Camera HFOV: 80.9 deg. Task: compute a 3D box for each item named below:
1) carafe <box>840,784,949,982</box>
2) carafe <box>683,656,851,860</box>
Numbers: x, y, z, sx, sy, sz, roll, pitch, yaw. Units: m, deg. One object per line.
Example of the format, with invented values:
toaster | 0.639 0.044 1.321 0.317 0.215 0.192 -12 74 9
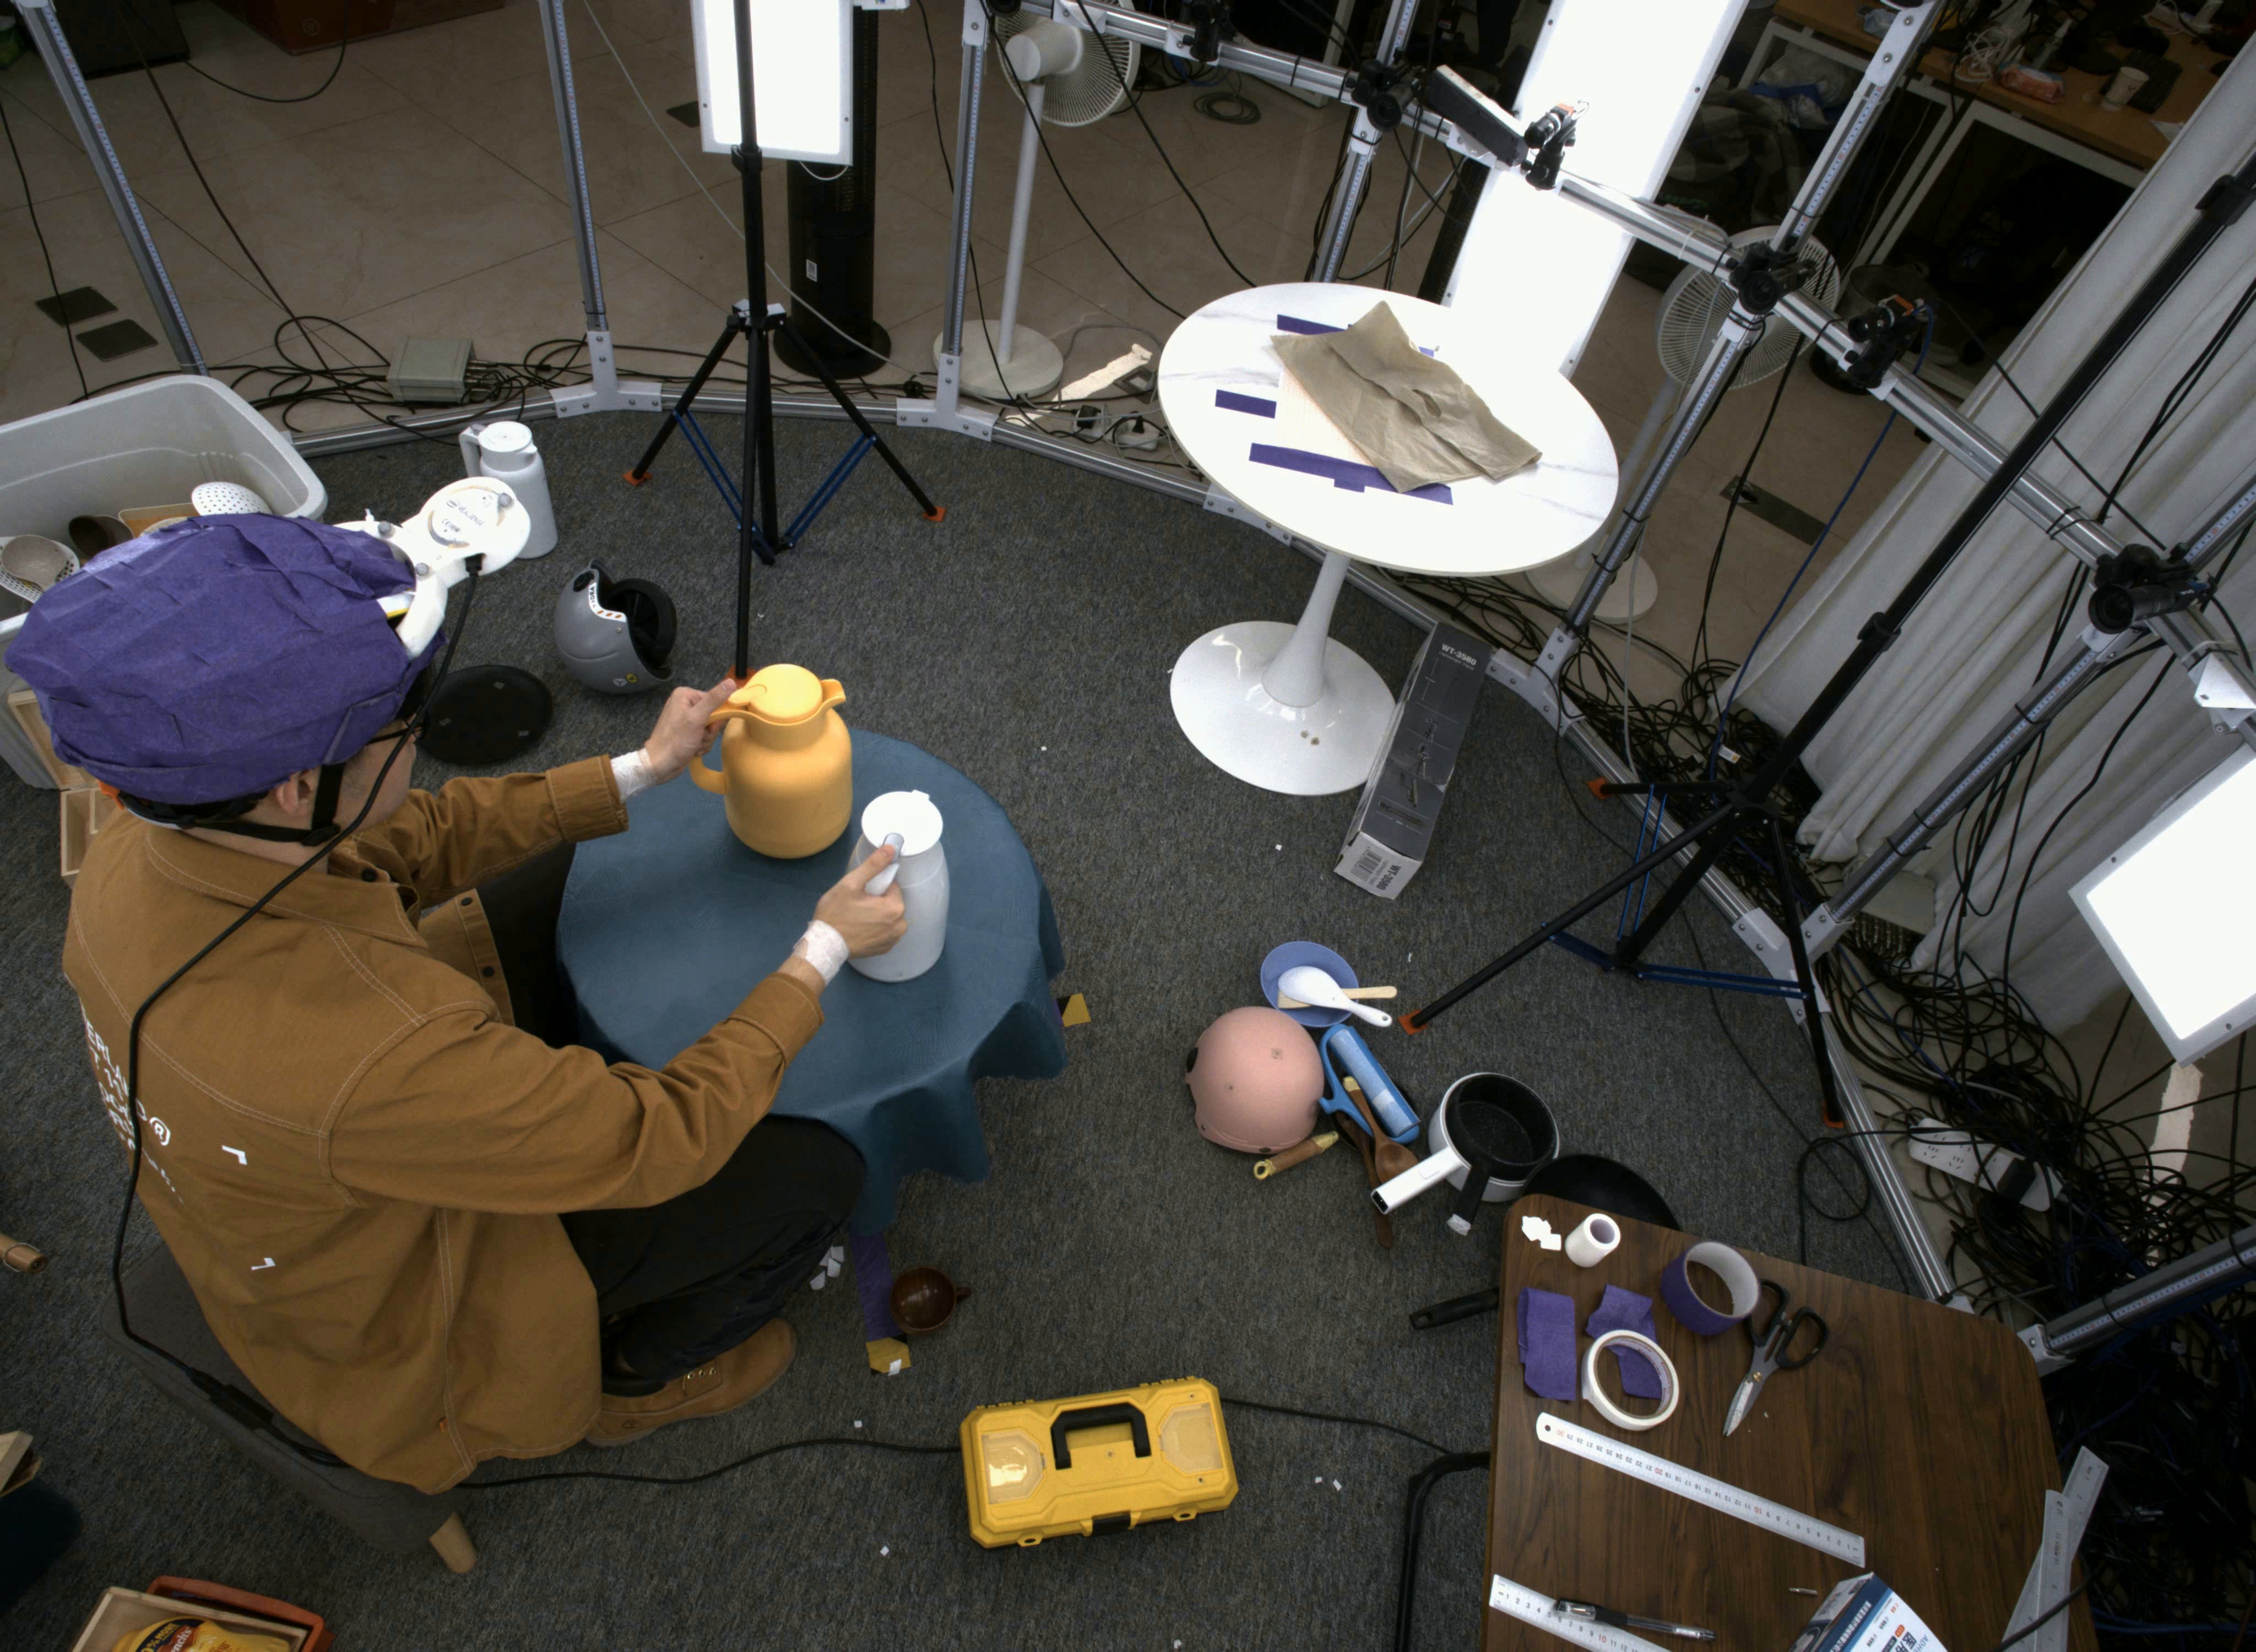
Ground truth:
carafe | -0.280 0.076 1.539 0.131 0.253 0.166 18 51 1
carafe | -0.447 -0.088 1.612 0.203 0.266 0.159 -8 53 -20
